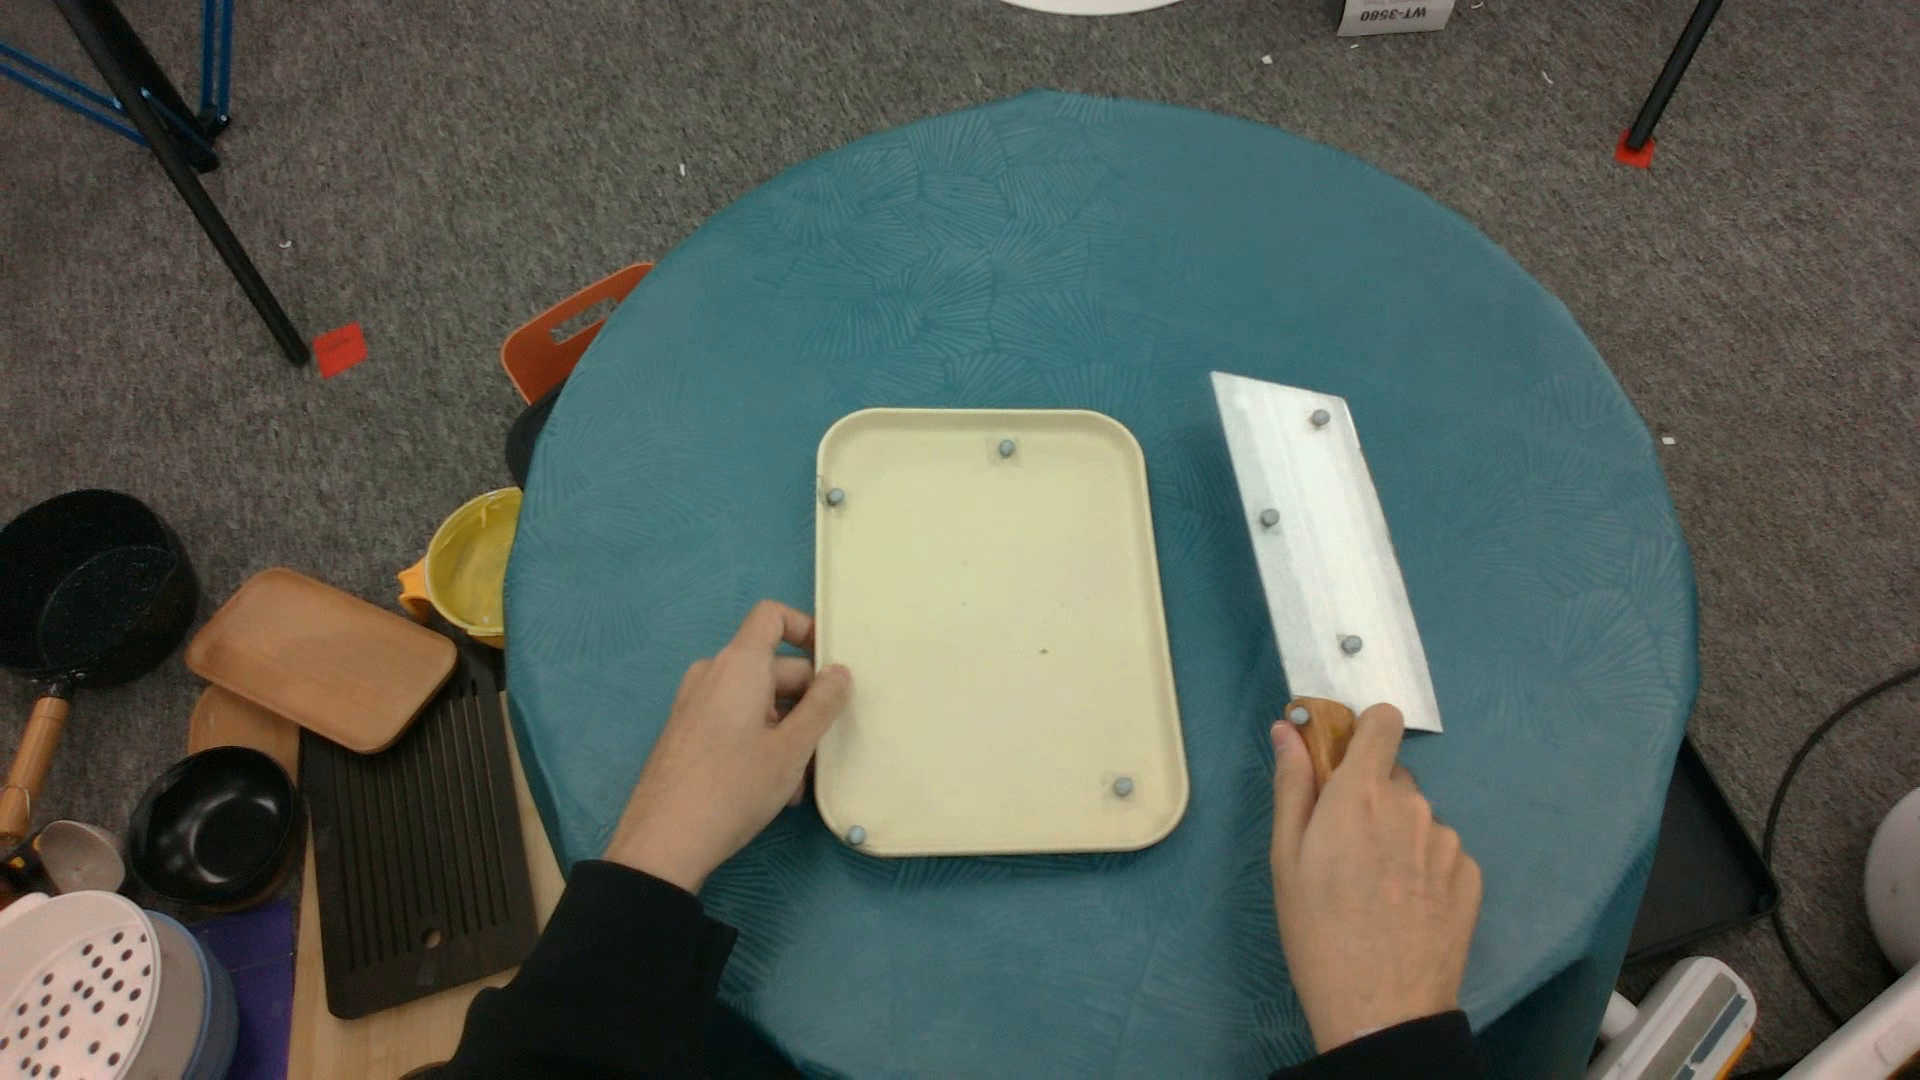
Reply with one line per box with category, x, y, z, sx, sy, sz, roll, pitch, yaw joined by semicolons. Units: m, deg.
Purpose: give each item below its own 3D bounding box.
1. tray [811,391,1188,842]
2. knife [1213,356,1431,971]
tray;0.014;0.029;0.667;0.171;0.017;0.240;0;60;-7
knife;0.180;0.044;0.647;0.093;0.021;0.307;10;59;-29
